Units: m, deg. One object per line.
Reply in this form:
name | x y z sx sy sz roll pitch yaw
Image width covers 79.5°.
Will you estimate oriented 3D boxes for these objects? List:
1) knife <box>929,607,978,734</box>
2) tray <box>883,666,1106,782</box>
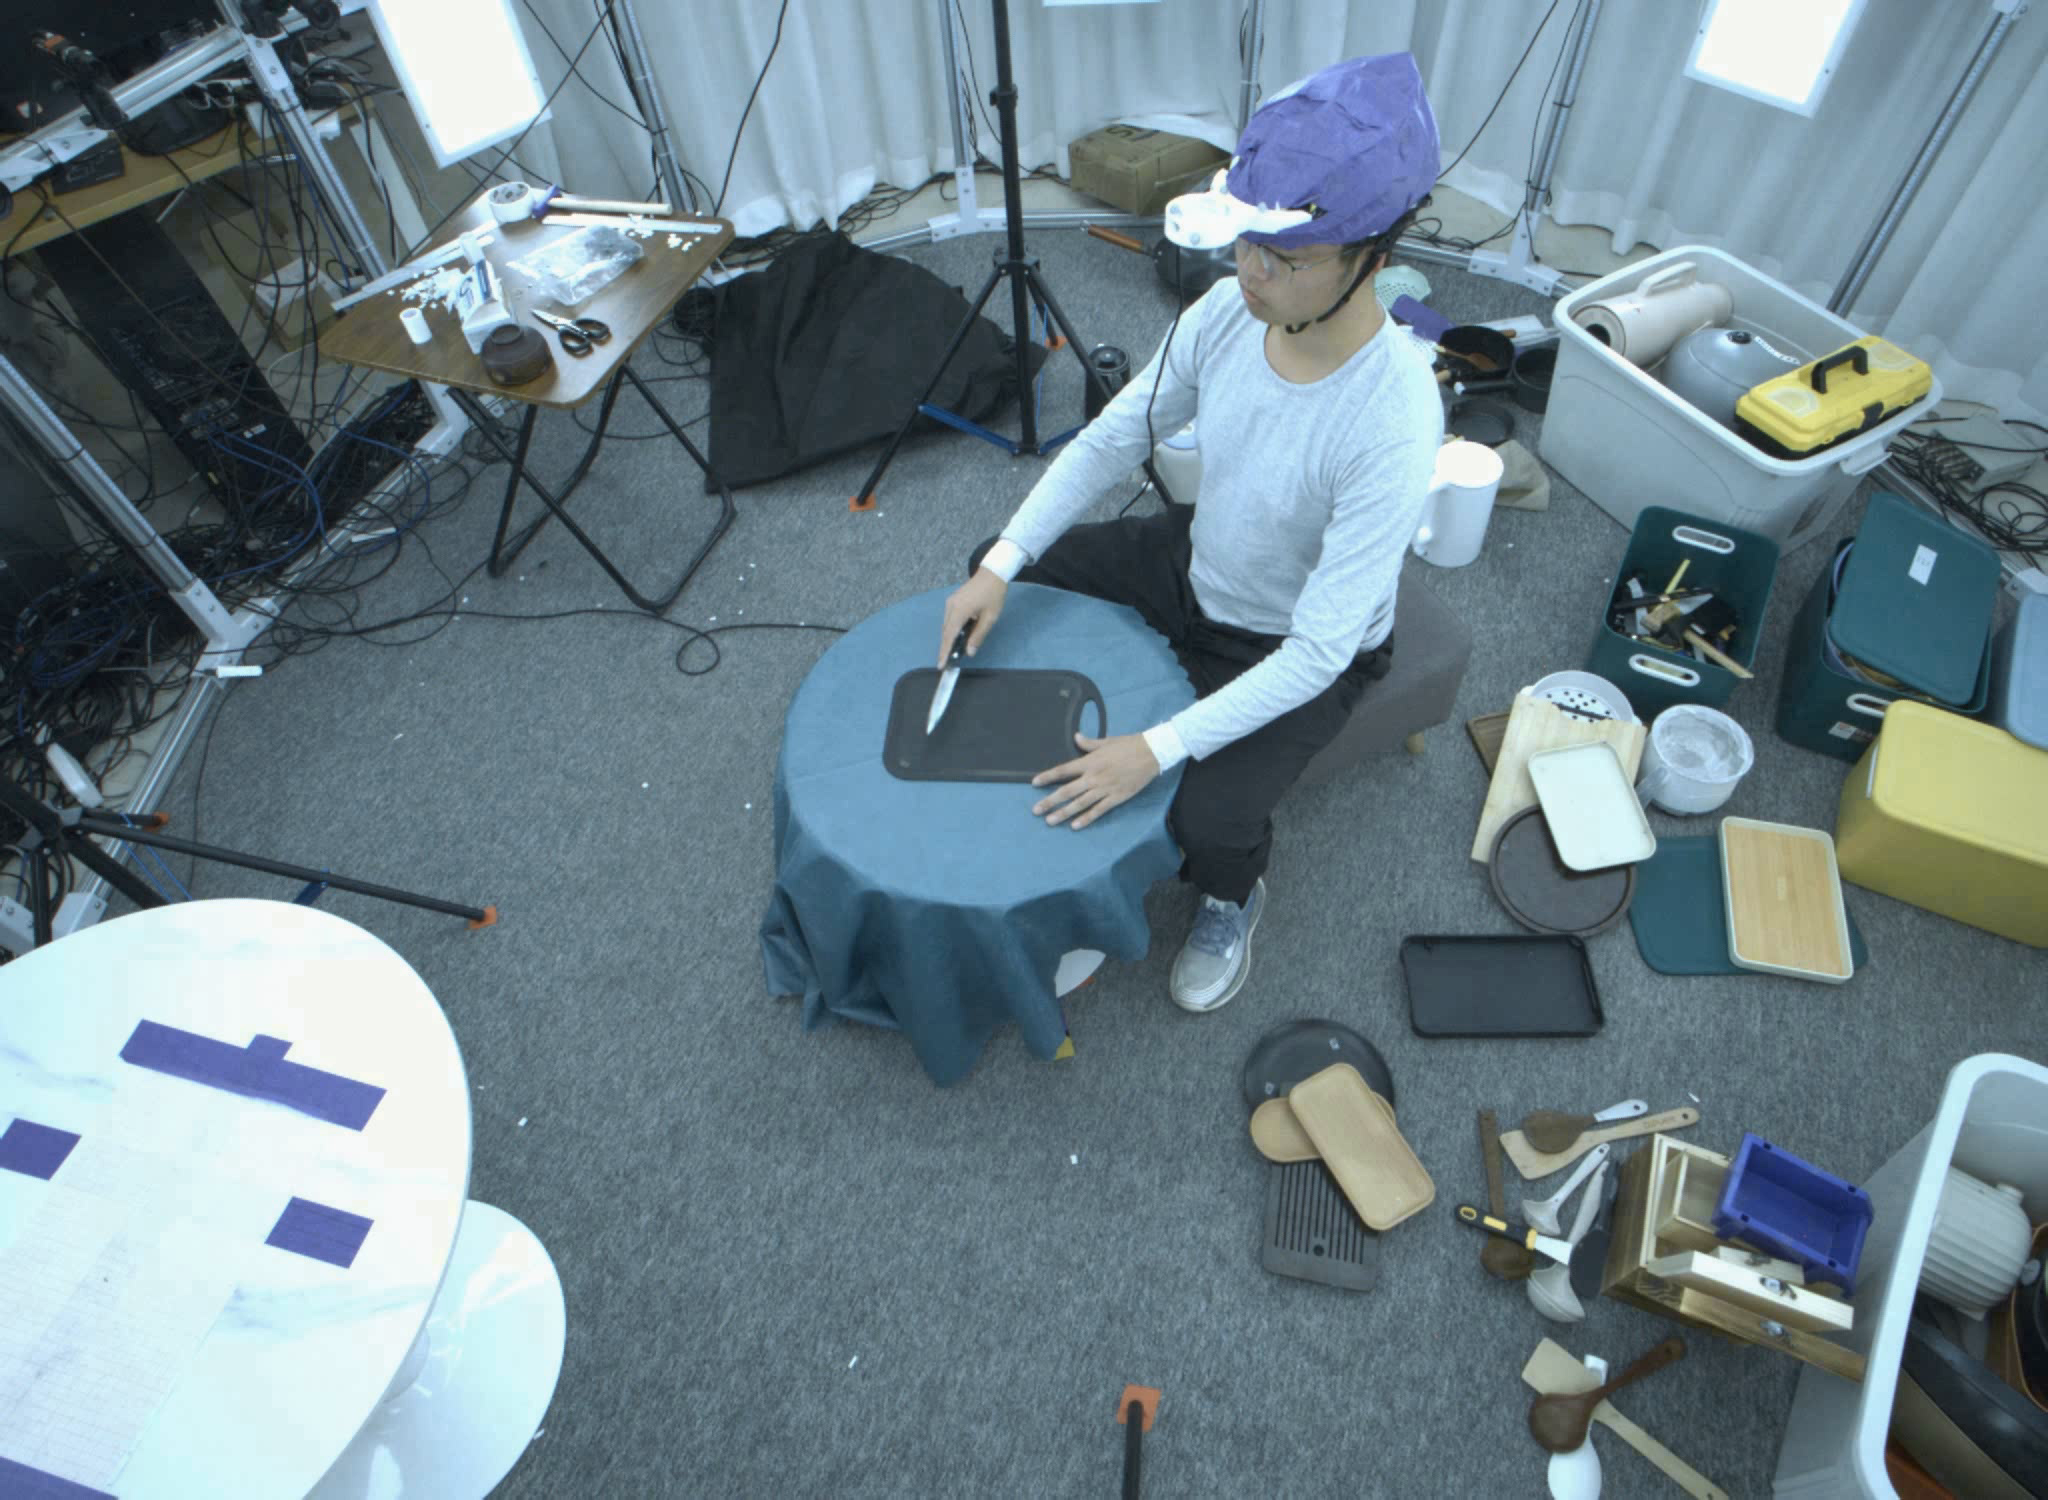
knife | -0.109 -0.121 1.828 0.024 0.016 0.237 18 59 -3
tray | -0.041 -0.042 1.823 0.325 0.010 0.209 2 55 3
